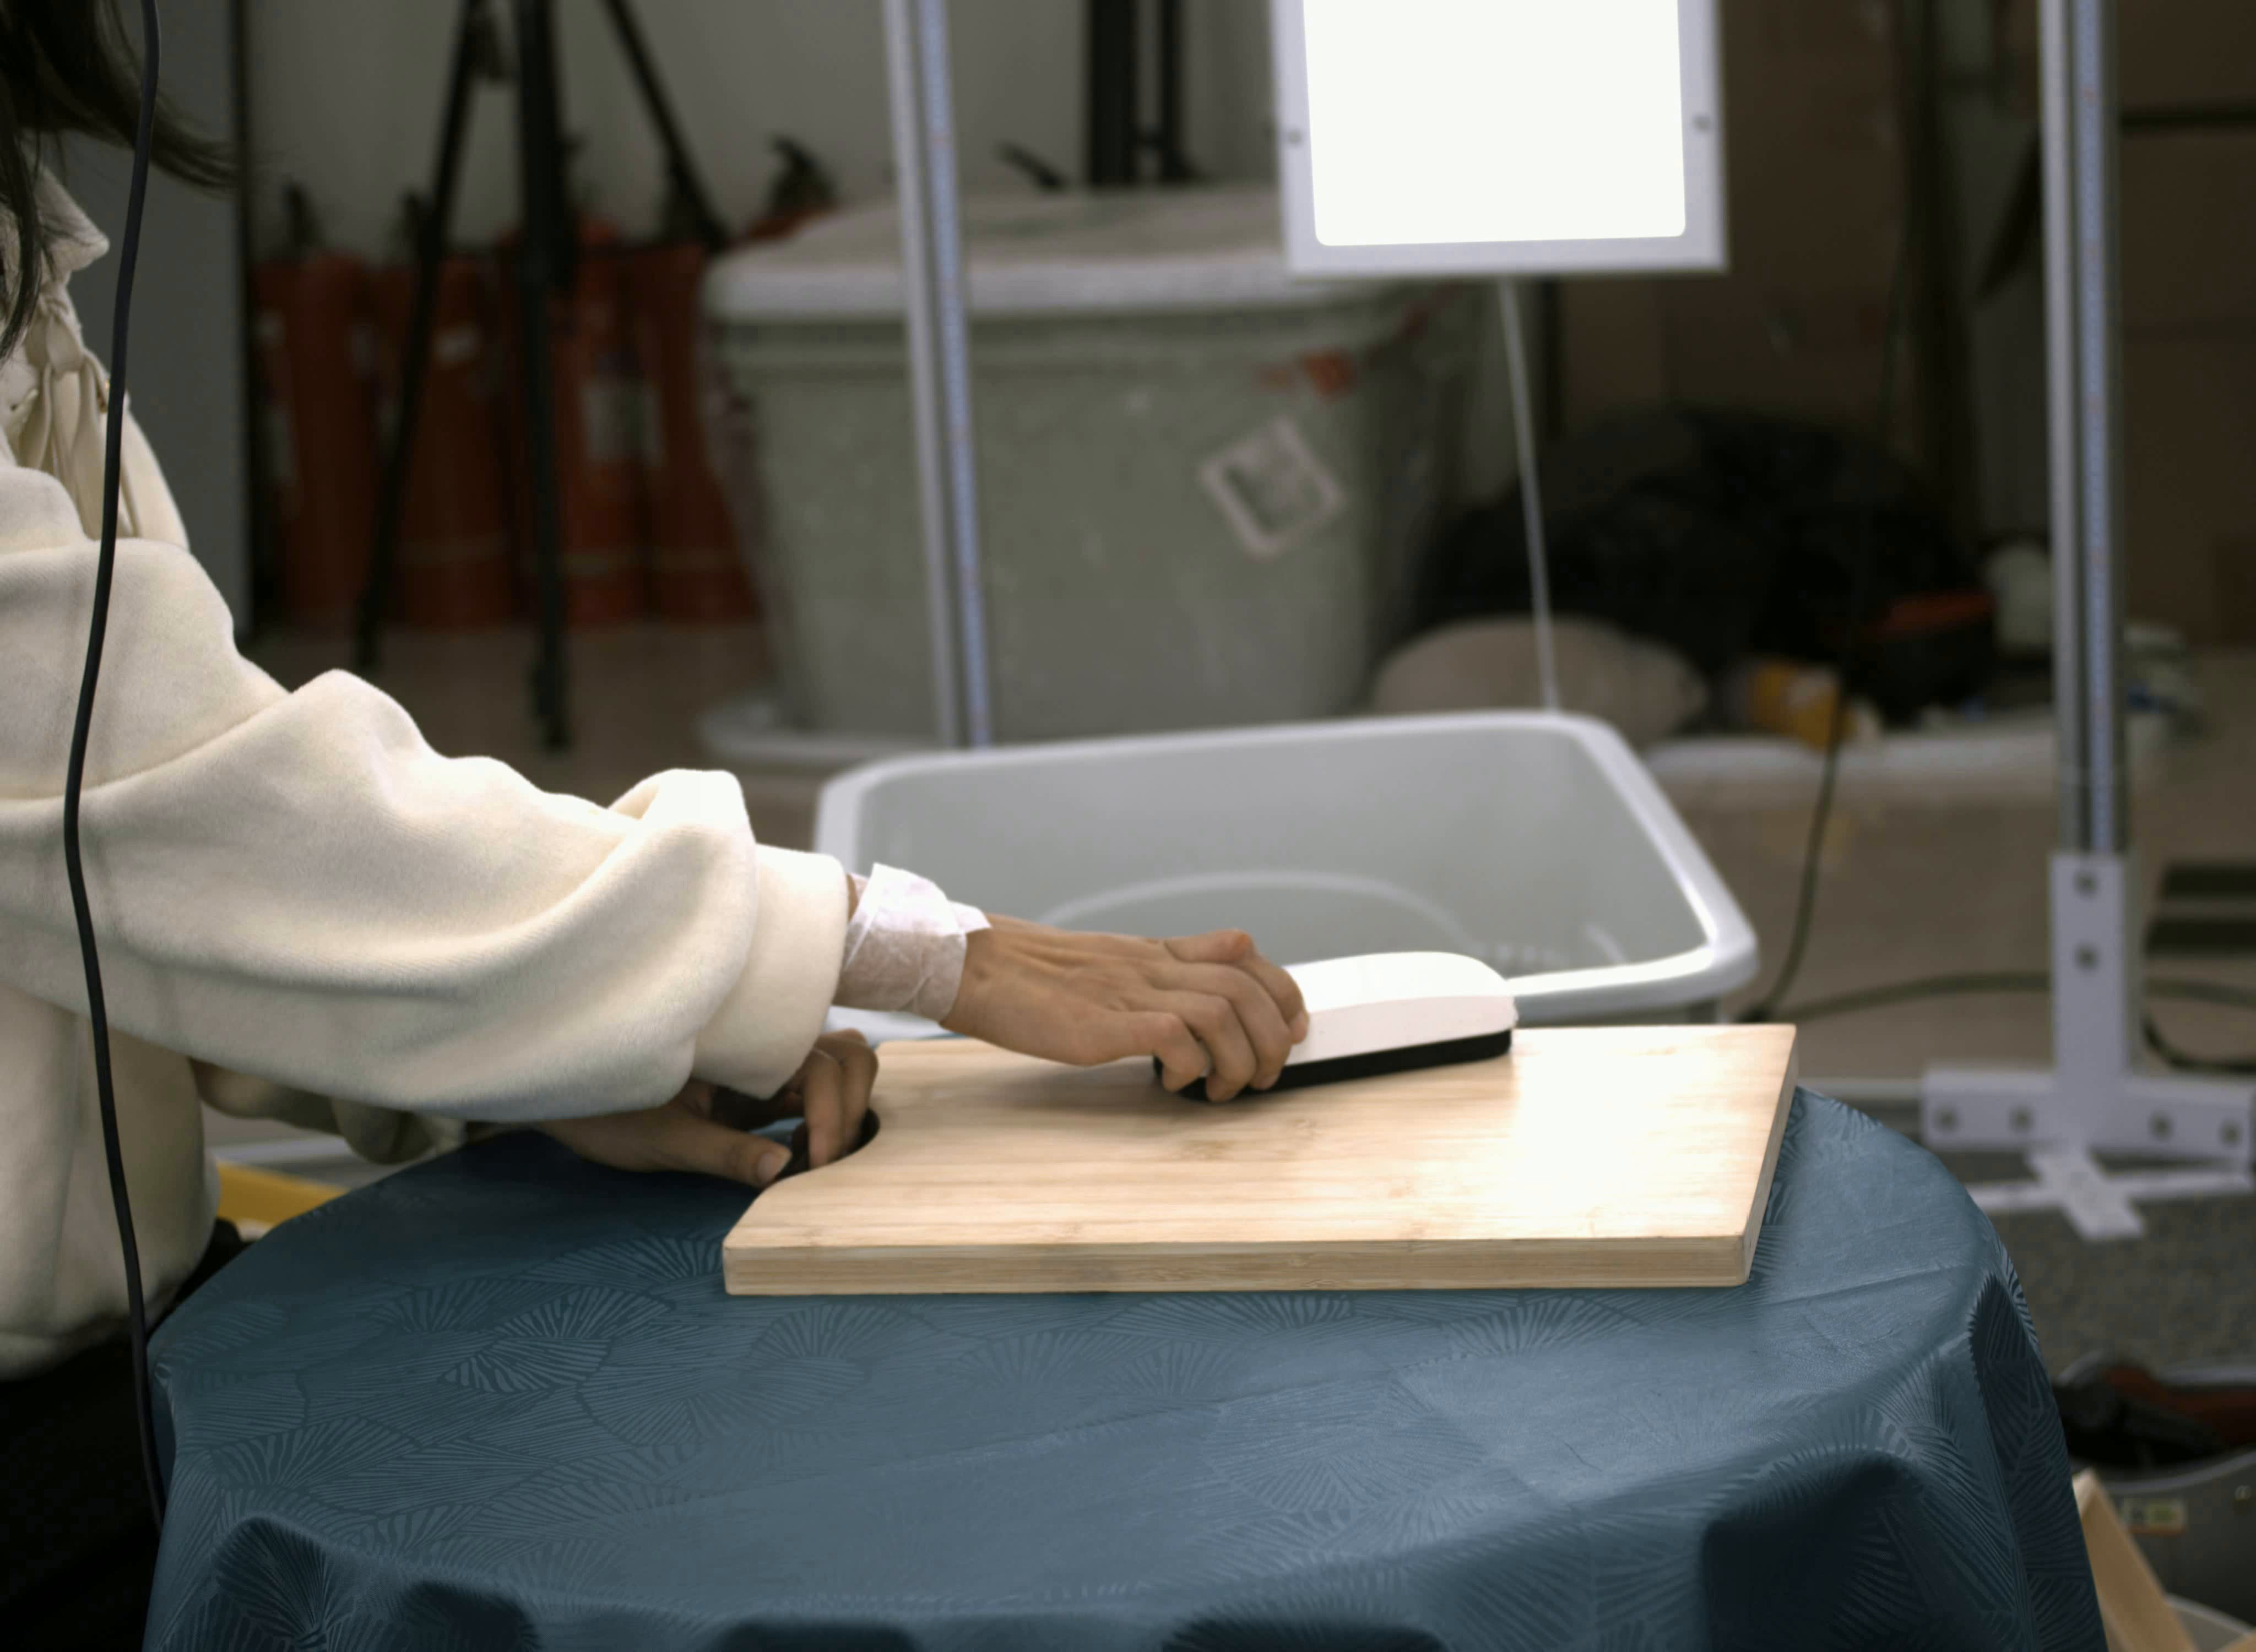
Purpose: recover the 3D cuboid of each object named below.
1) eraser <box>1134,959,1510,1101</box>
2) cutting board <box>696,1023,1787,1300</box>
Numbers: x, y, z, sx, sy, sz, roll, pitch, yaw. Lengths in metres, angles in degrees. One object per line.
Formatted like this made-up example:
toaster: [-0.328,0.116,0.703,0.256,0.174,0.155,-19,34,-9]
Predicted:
eraser: [0.070,0.070,1.965,0.129,0.034,0.064,-7,14,-12]
cutting board: [0.047,0.115,1.898,0.351,0.023,0.248,-2,14,12]
